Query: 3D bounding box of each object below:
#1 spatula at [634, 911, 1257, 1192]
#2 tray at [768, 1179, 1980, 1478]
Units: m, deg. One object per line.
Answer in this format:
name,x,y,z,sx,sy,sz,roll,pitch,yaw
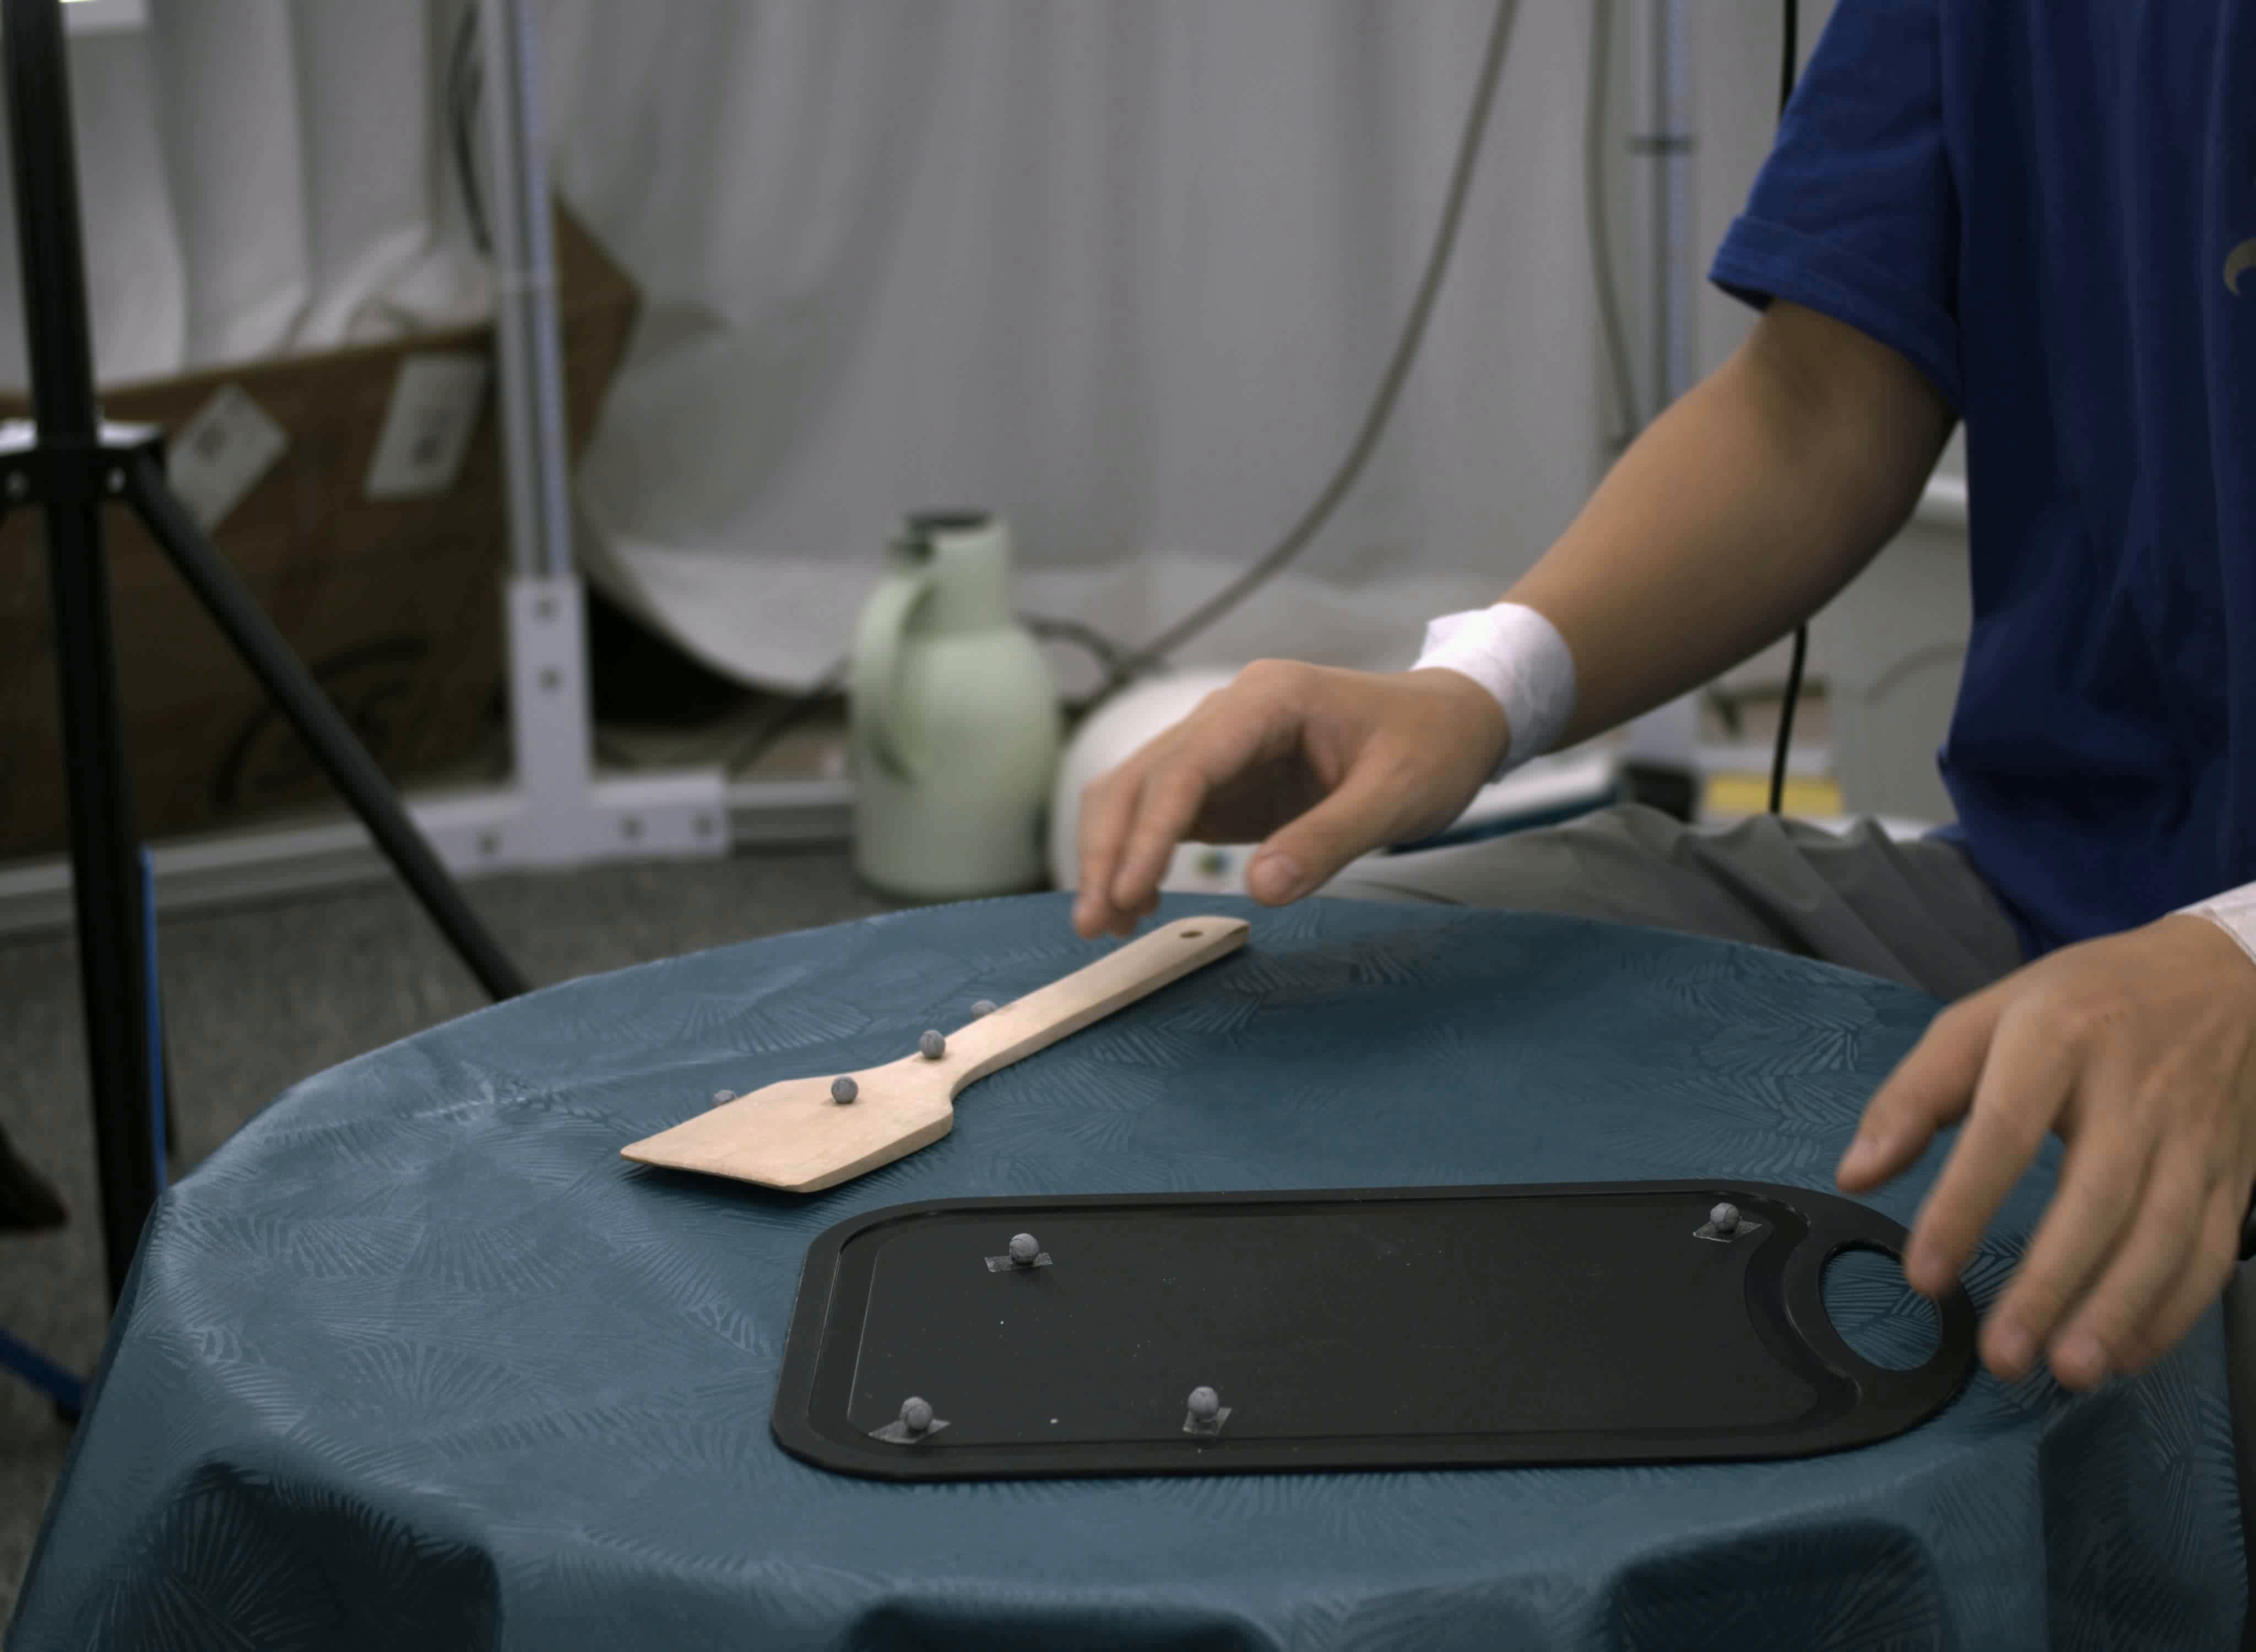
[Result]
spatula,-0.044,0.068,1.688,0.073,0.010,0.287,7,18,33
tray,0.069,0.133,1.444,0.325,0.010,0.211,-1,16,4
